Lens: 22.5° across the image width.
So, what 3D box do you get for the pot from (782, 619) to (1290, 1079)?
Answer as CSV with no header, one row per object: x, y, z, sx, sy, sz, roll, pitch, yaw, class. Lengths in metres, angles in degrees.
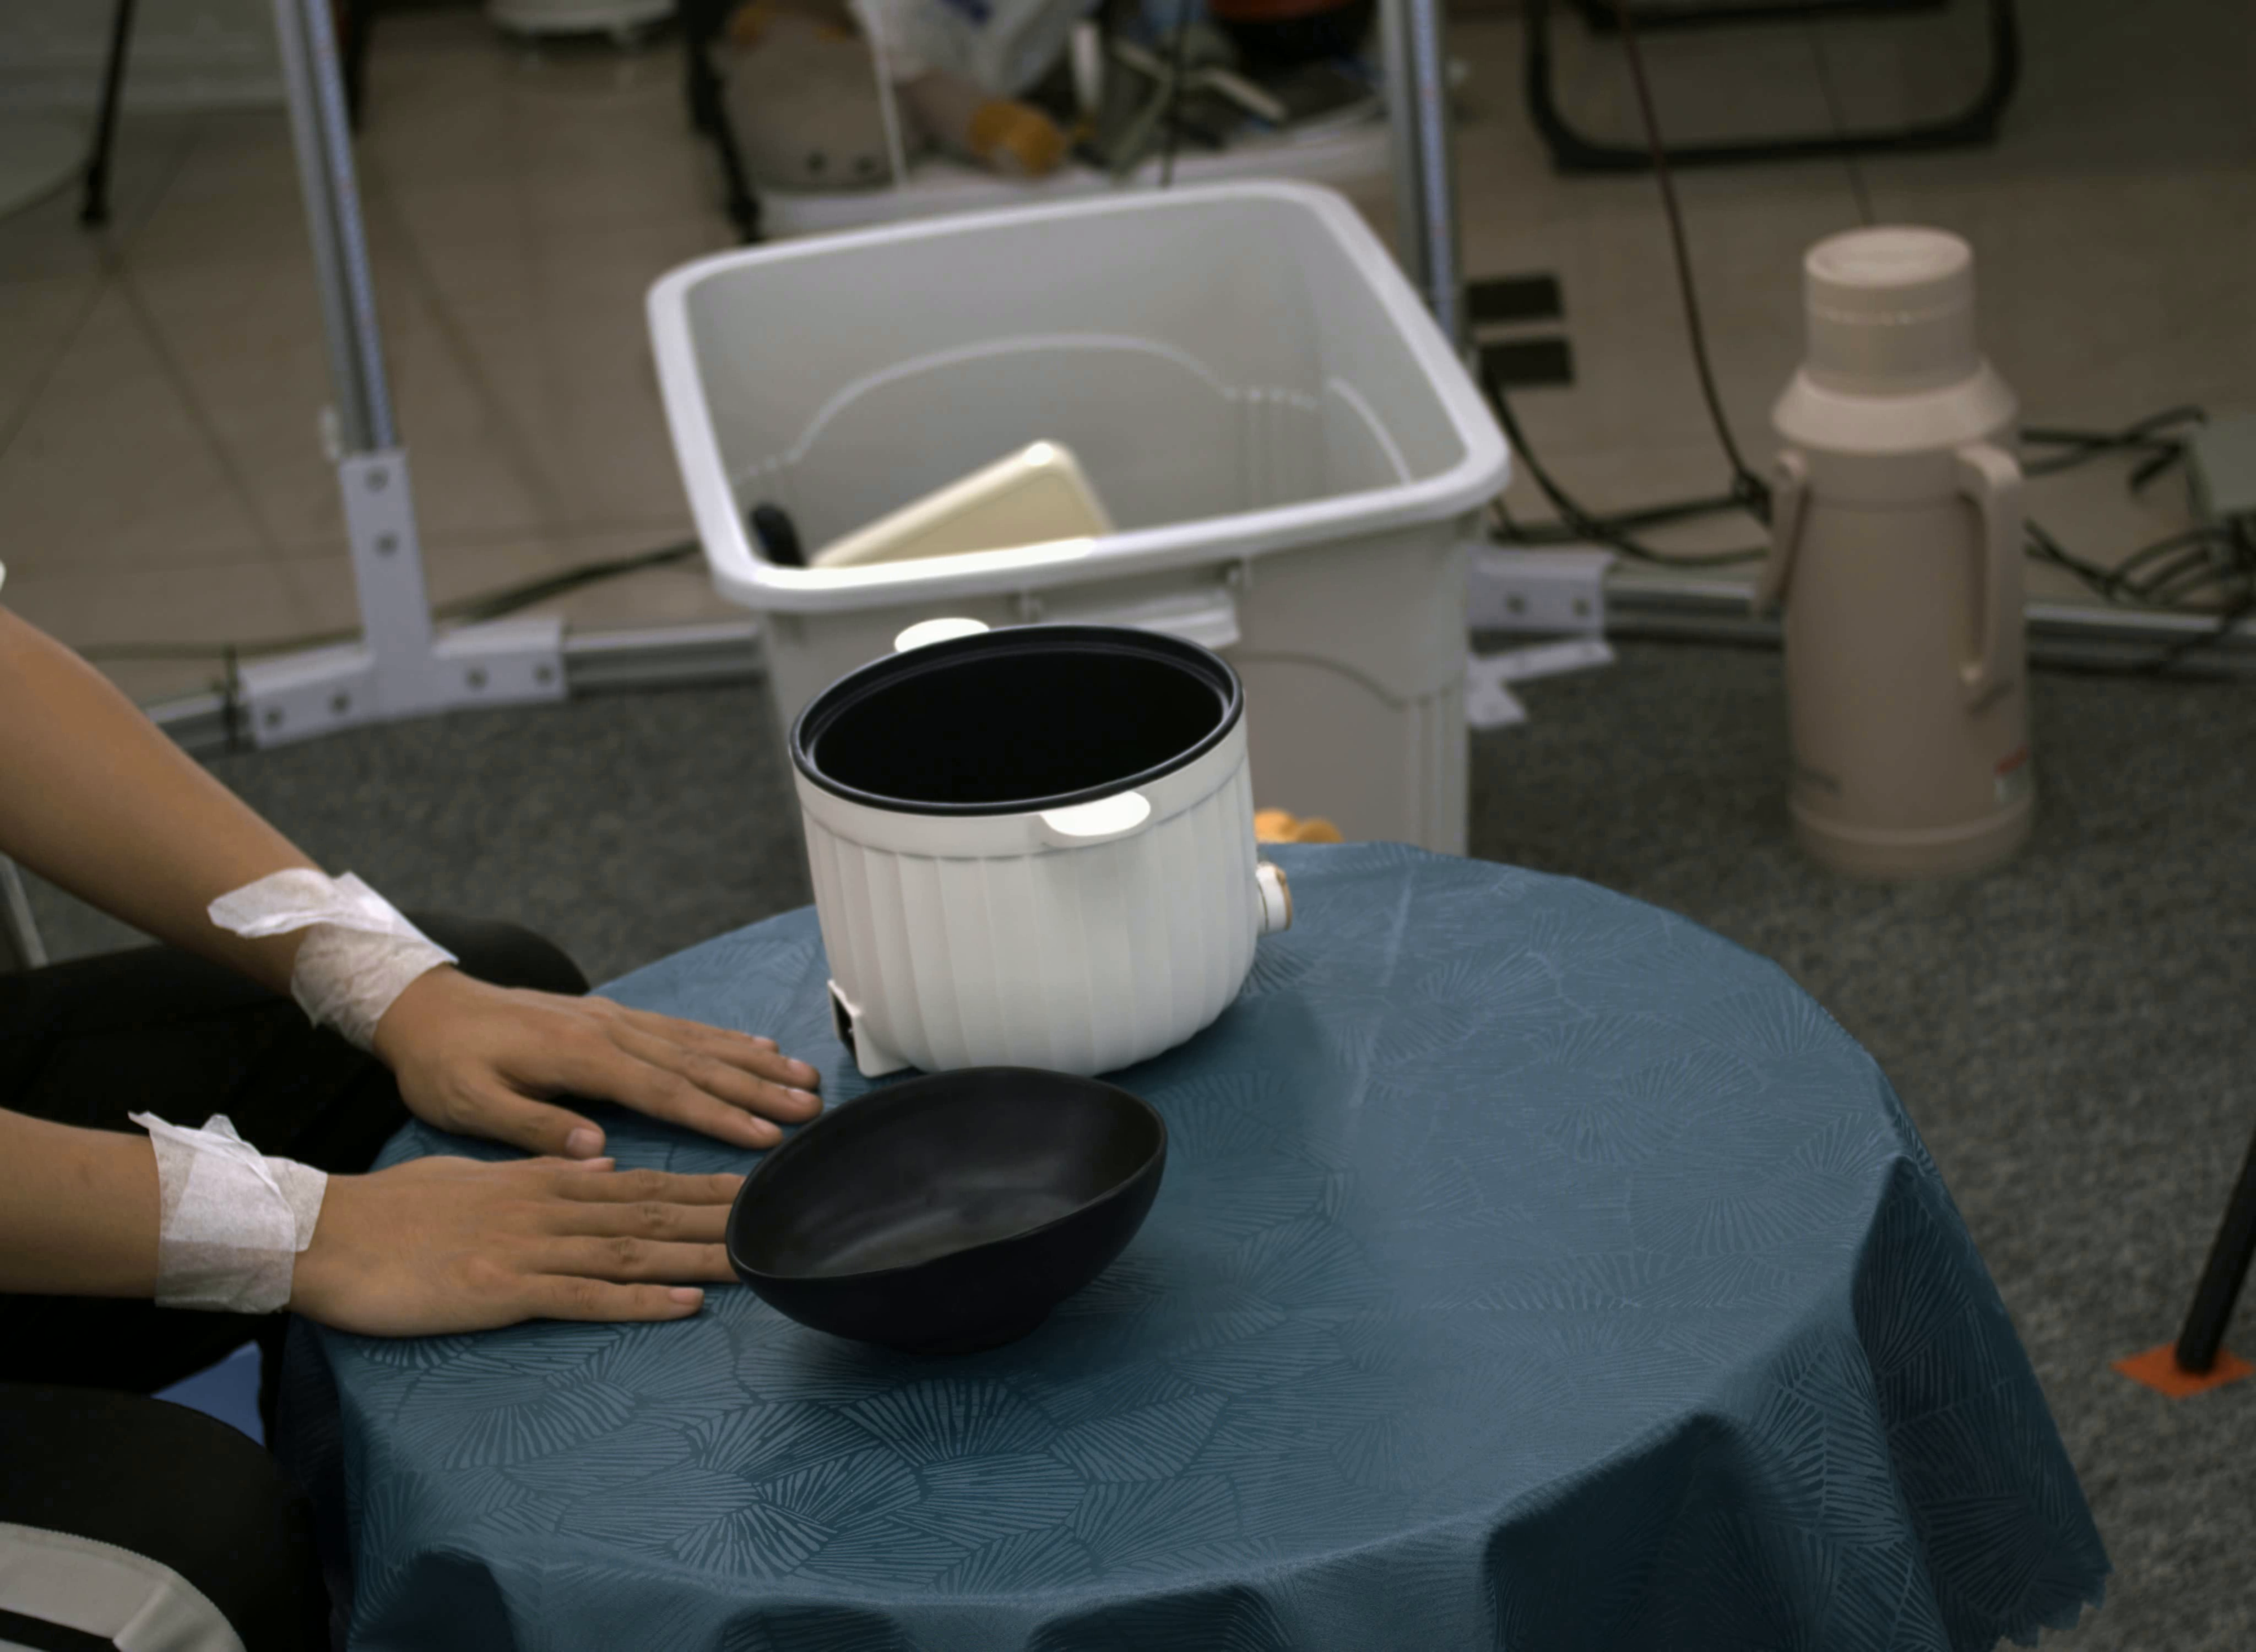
-0.033,0.013,2.264,0.190,0.145,0.237,-17,28,-14,pot

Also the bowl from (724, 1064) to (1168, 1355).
-0.062,0.149,2.068,0.169,0.068,0.136,-19,27,-24,bowl
